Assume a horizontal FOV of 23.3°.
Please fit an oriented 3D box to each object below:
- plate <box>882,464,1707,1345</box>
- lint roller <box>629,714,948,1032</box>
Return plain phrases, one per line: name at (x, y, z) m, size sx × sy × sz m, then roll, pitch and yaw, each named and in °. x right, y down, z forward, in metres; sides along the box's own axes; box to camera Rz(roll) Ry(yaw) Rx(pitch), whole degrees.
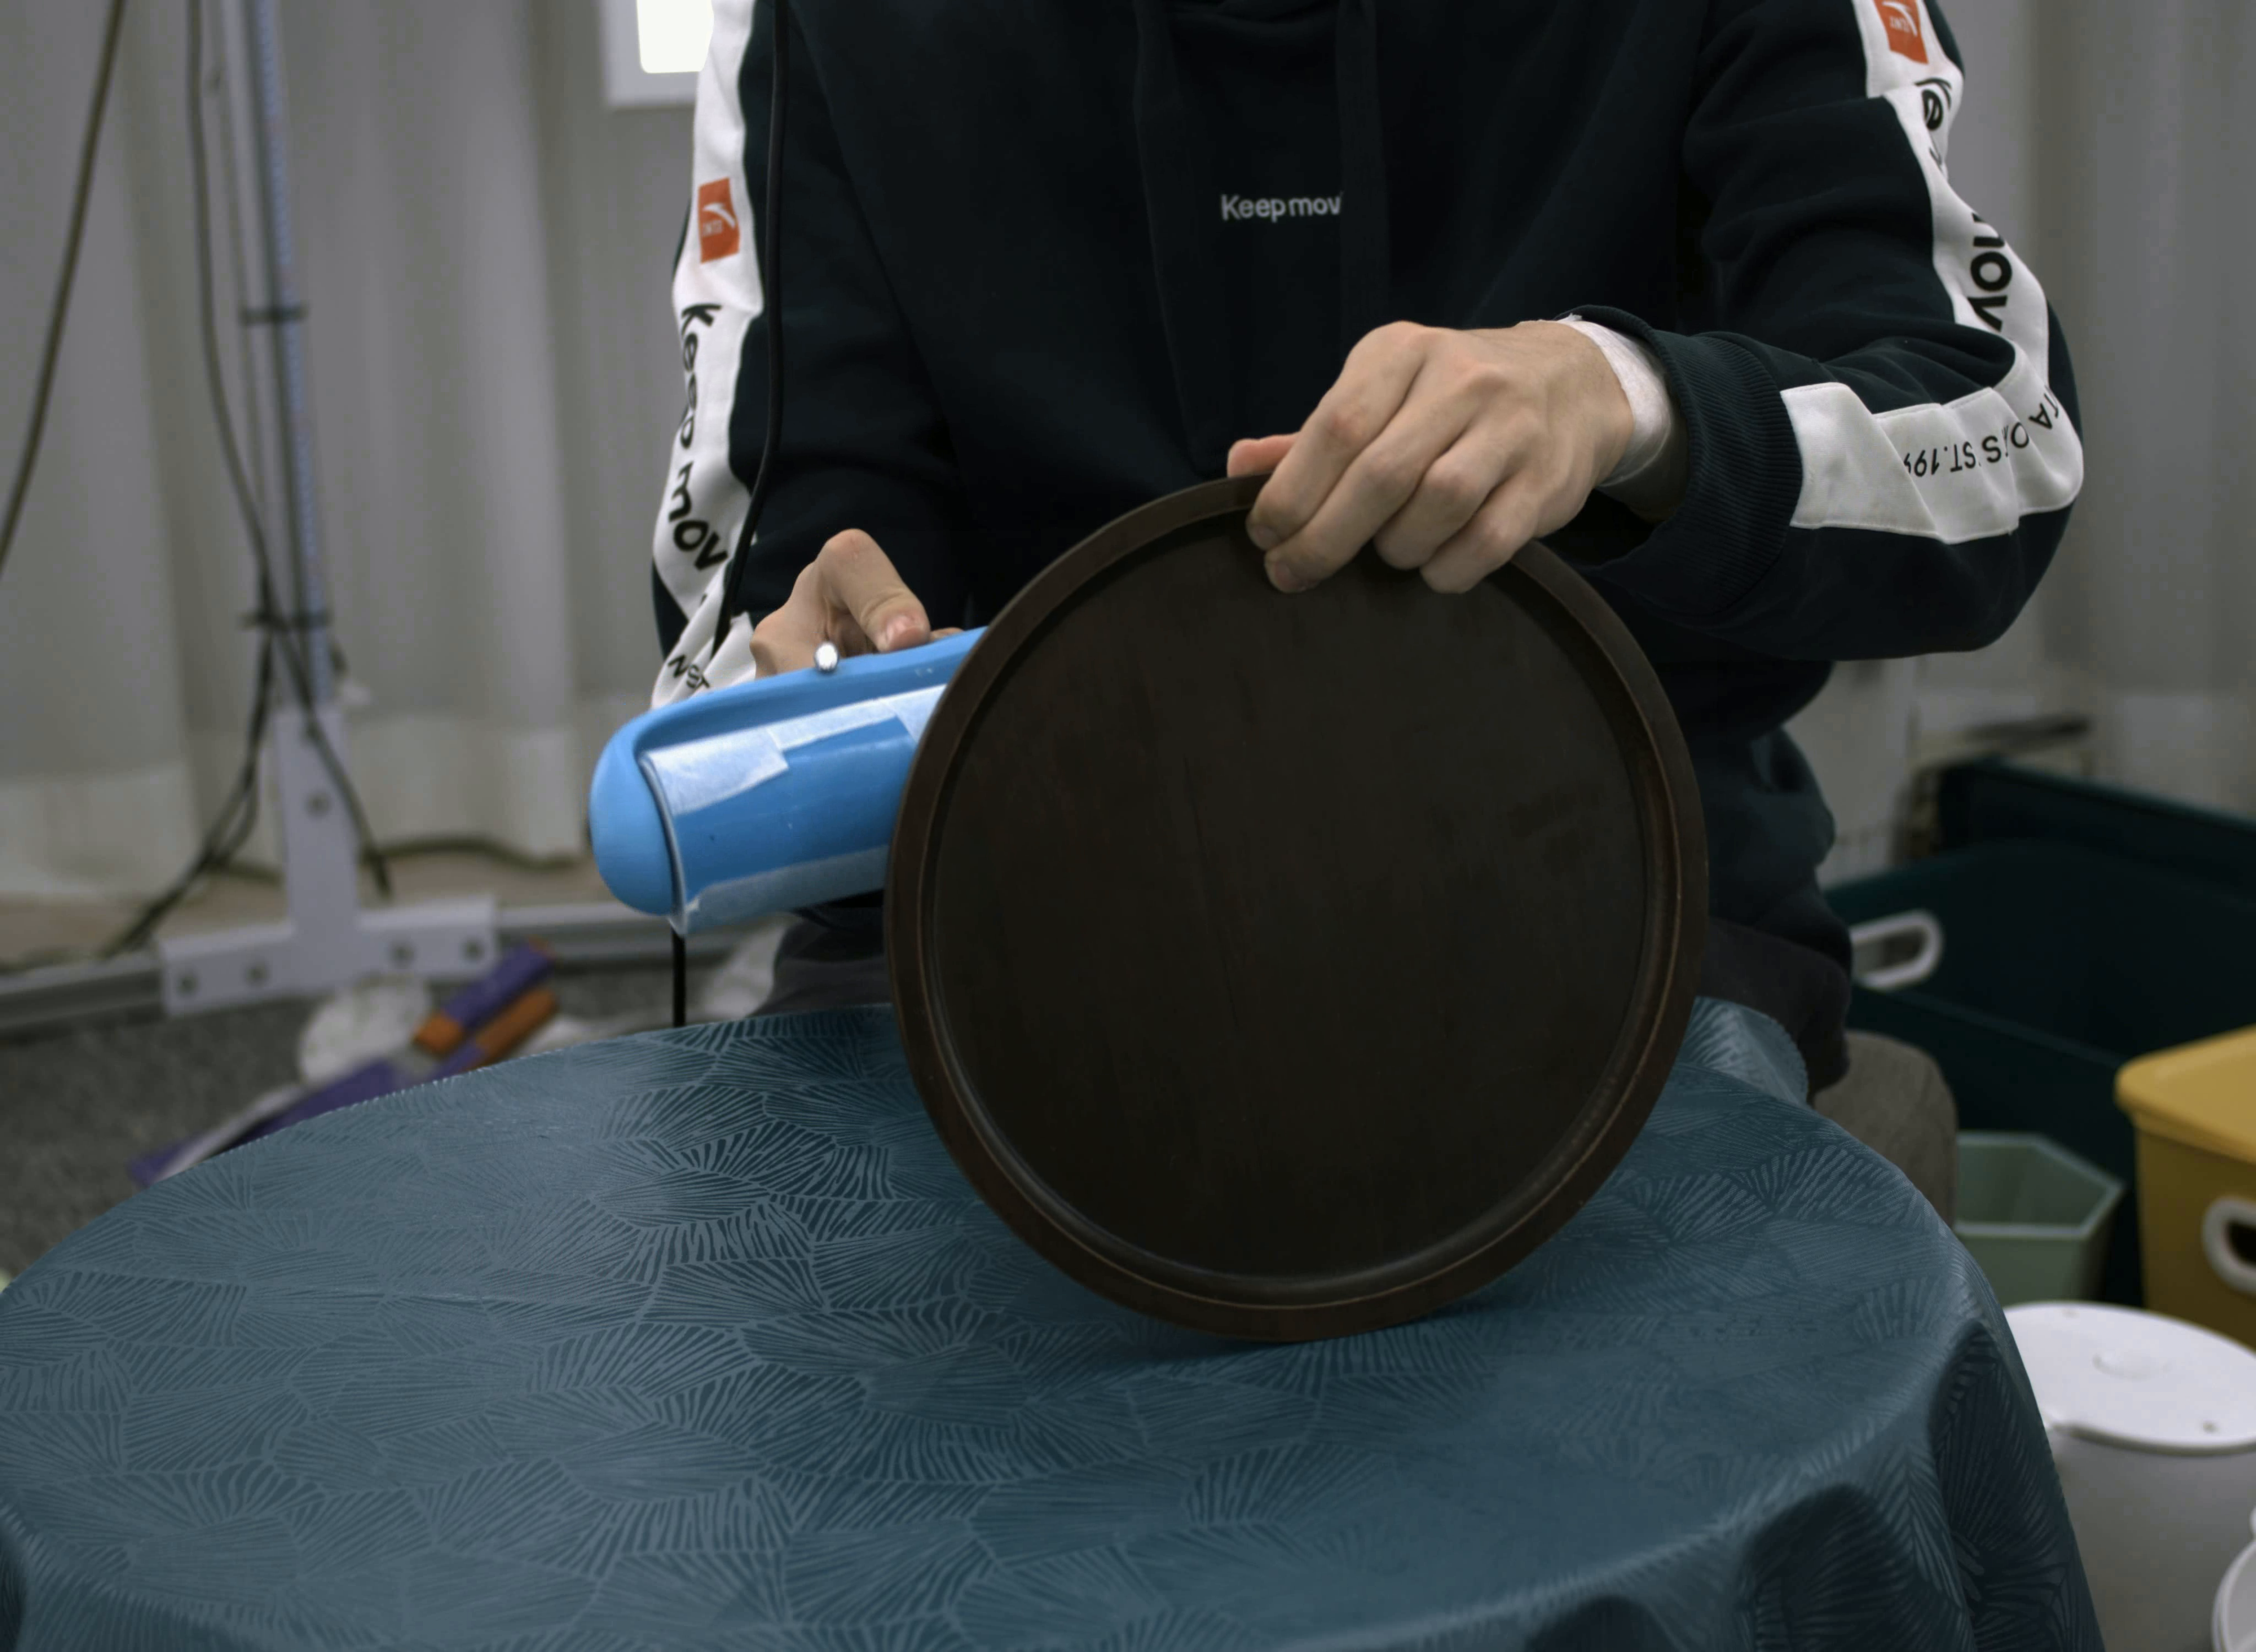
plate at (0.048, 0.023, 1.573) m, size 0.253 × 0.255 × 0.029 m, roll -8°, pitch 7°, yaw -19°
lint roller at (-0.055, -0.003, 1.654) m, size 0.228 × 0.067 × 0.181 m, roll -17°, pitch 17°, yaw -17°
